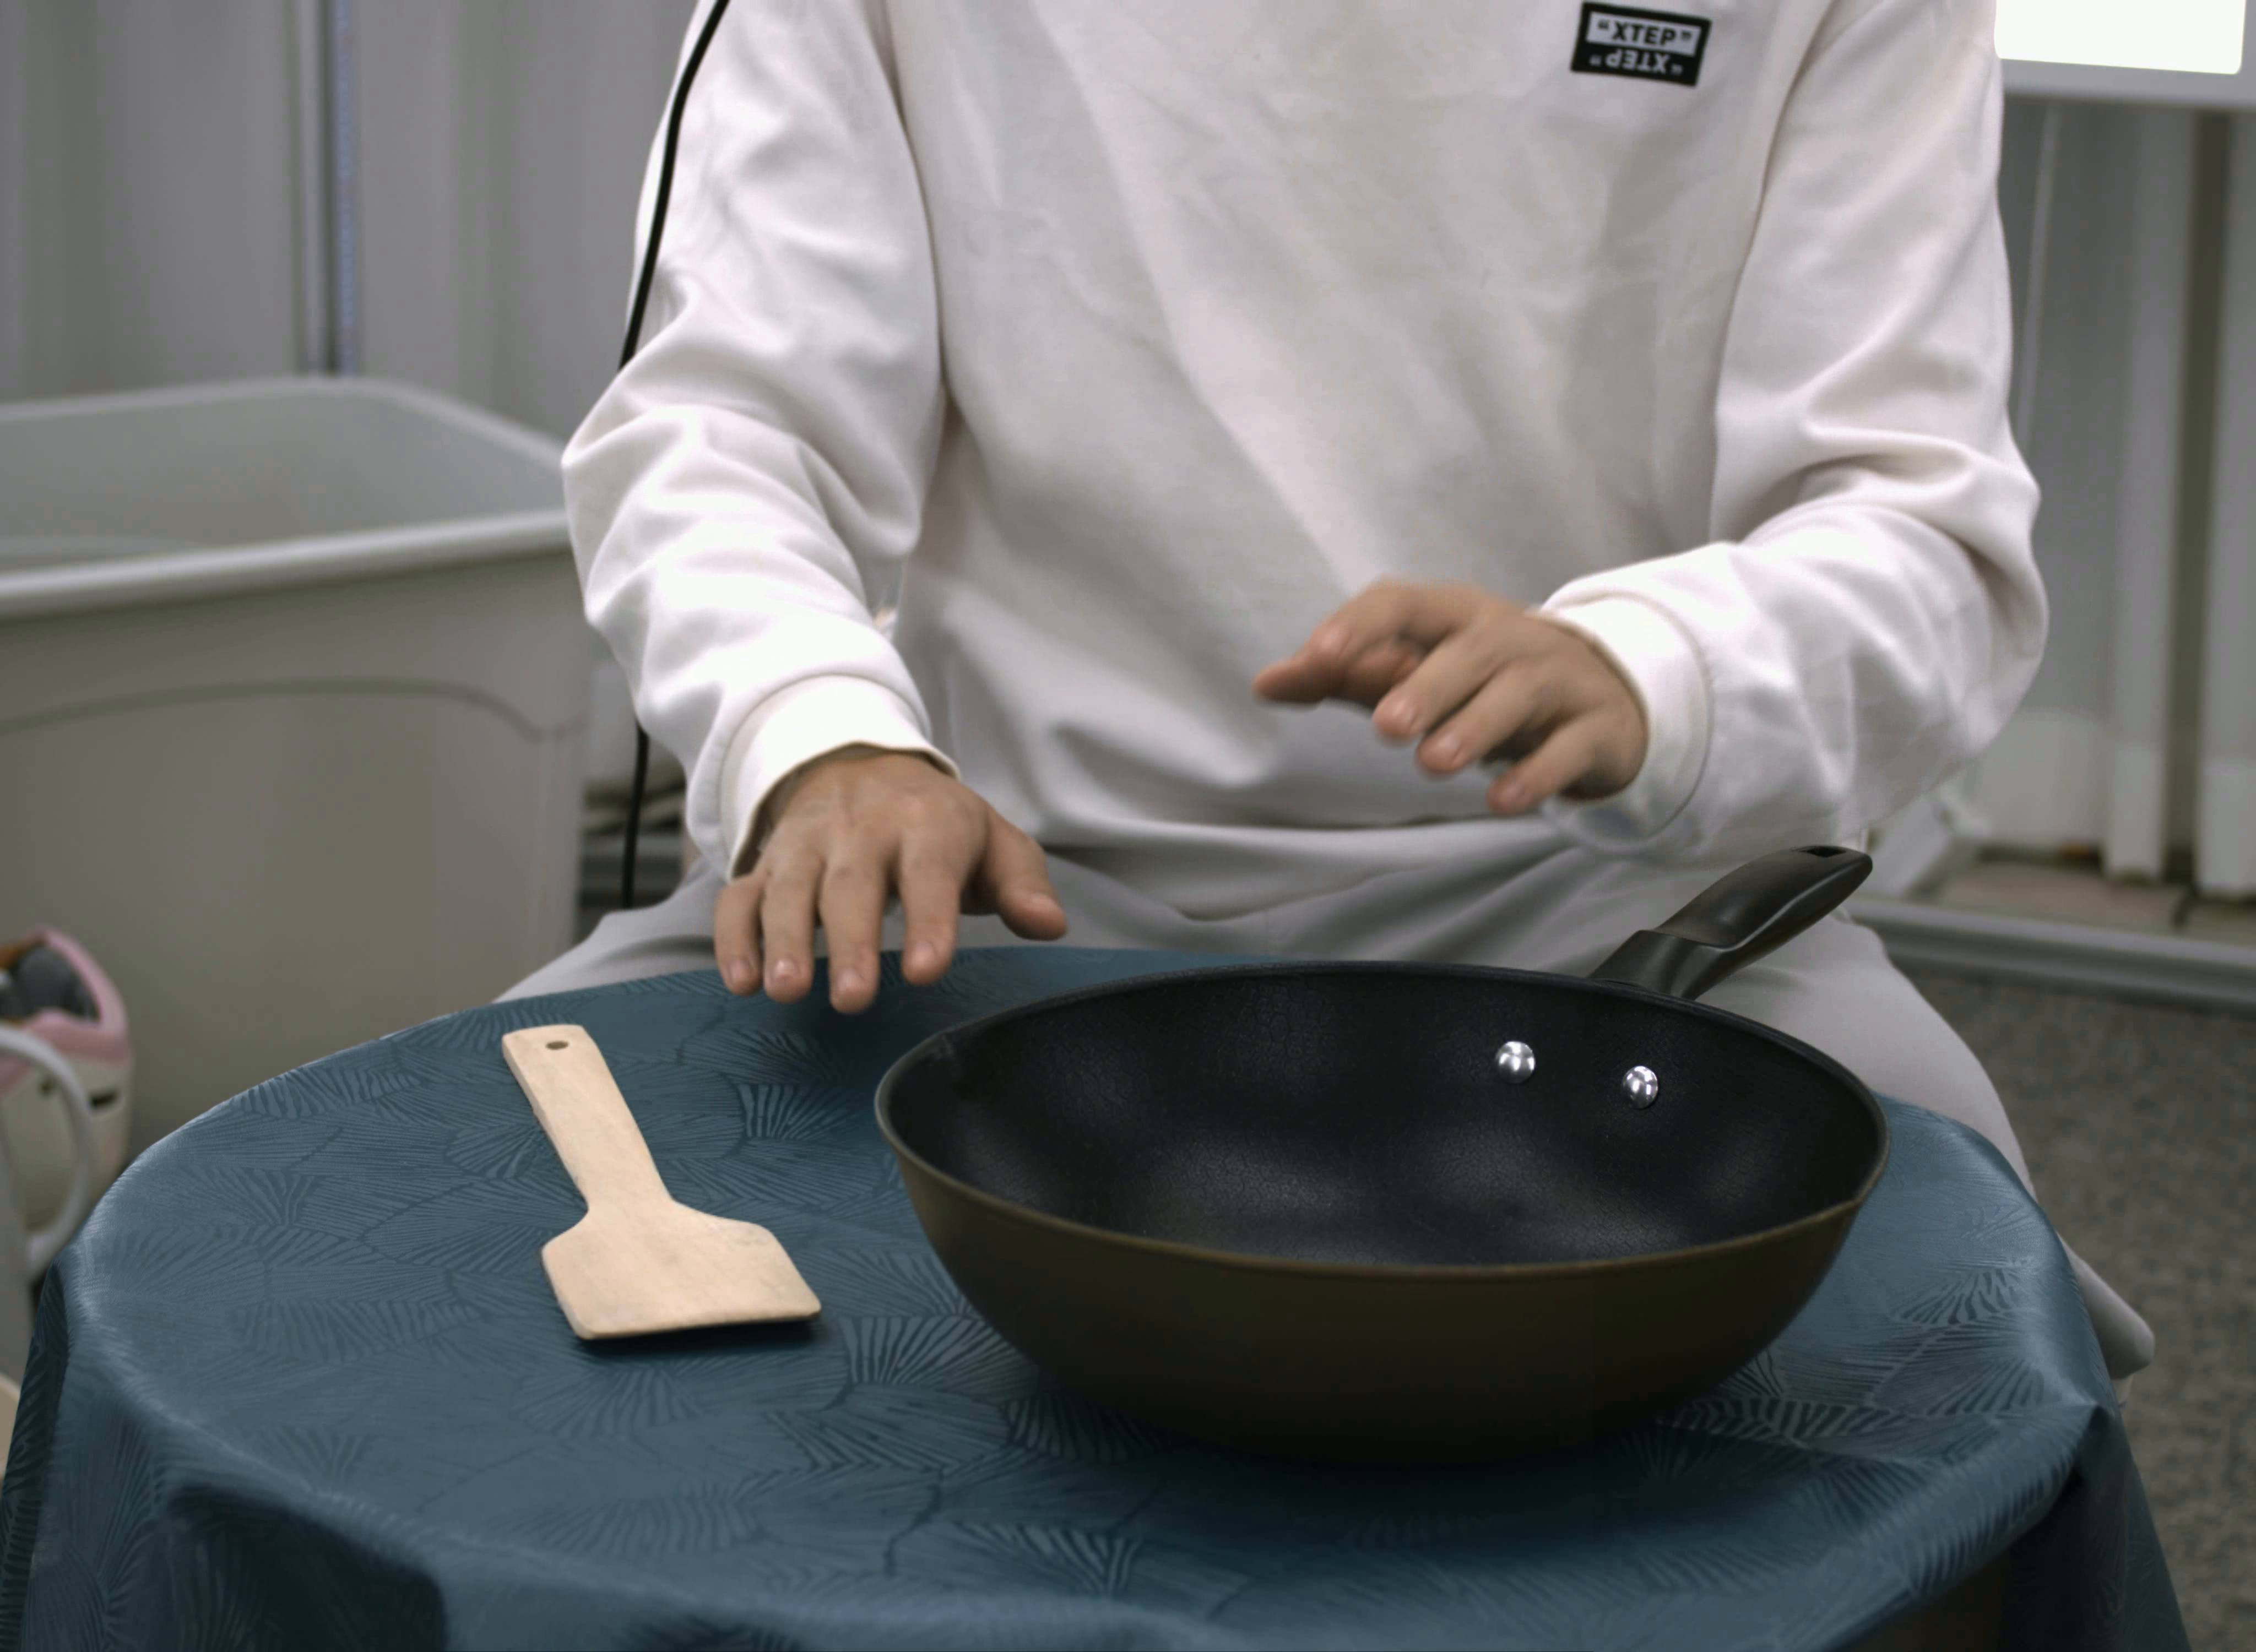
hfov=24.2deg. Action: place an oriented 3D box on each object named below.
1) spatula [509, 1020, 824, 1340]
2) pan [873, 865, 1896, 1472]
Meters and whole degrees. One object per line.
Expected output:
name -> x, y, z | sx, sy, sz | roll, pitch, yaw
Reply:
spatula -> -0.158, 0.106, 1.628 | 0.072, 0.011, 0.290 | -5, 16, -15
pan -> 0.115, 0.095, 1.546 | 0.285, 0.087, 0.465 | 10, 17, 29
